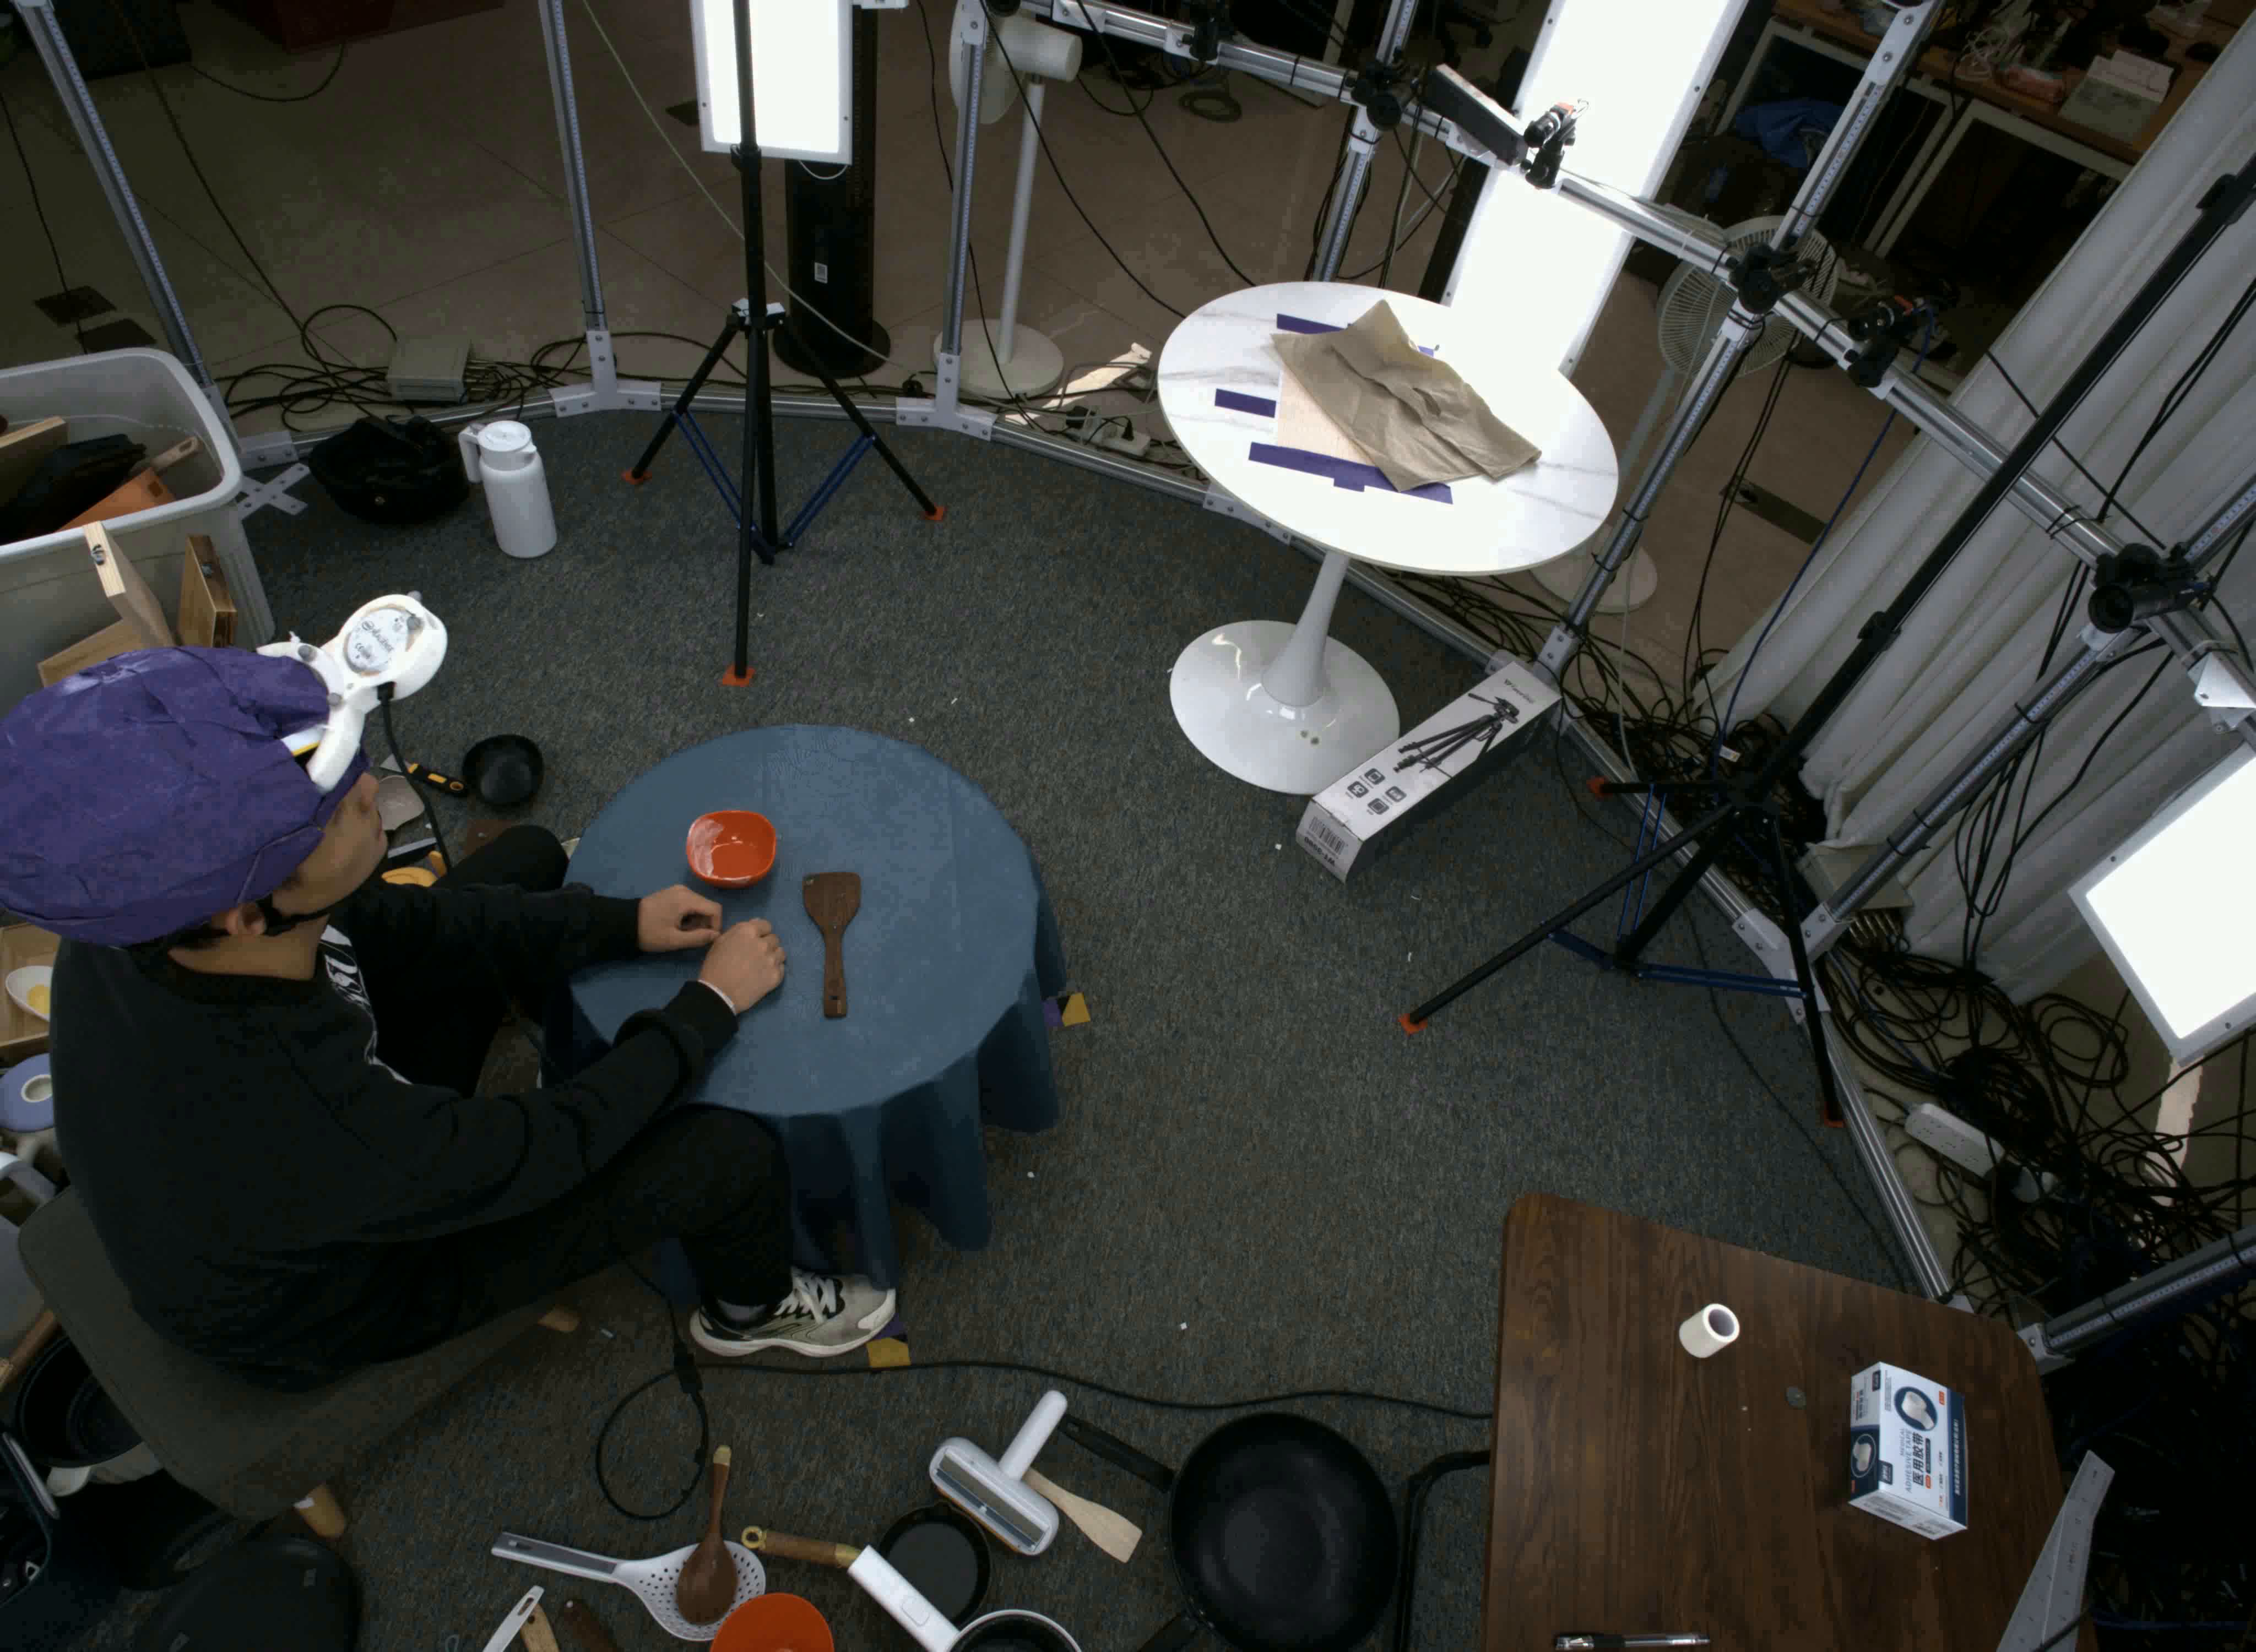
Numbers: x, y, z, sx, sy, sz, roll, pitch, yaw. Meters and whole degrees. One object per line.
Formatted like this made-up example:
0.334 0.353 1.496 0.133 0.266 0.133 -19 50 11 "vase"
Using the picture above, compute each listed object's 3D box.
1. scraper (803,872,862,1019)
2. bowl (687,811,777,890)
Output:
-0.369 0.146 1.630 0.076 0.011 0.207 -1 55 -14 "scraper"
-0.504 0.037 1.648 0.119 0.052 0.117 9 51 -9 "bowl"
